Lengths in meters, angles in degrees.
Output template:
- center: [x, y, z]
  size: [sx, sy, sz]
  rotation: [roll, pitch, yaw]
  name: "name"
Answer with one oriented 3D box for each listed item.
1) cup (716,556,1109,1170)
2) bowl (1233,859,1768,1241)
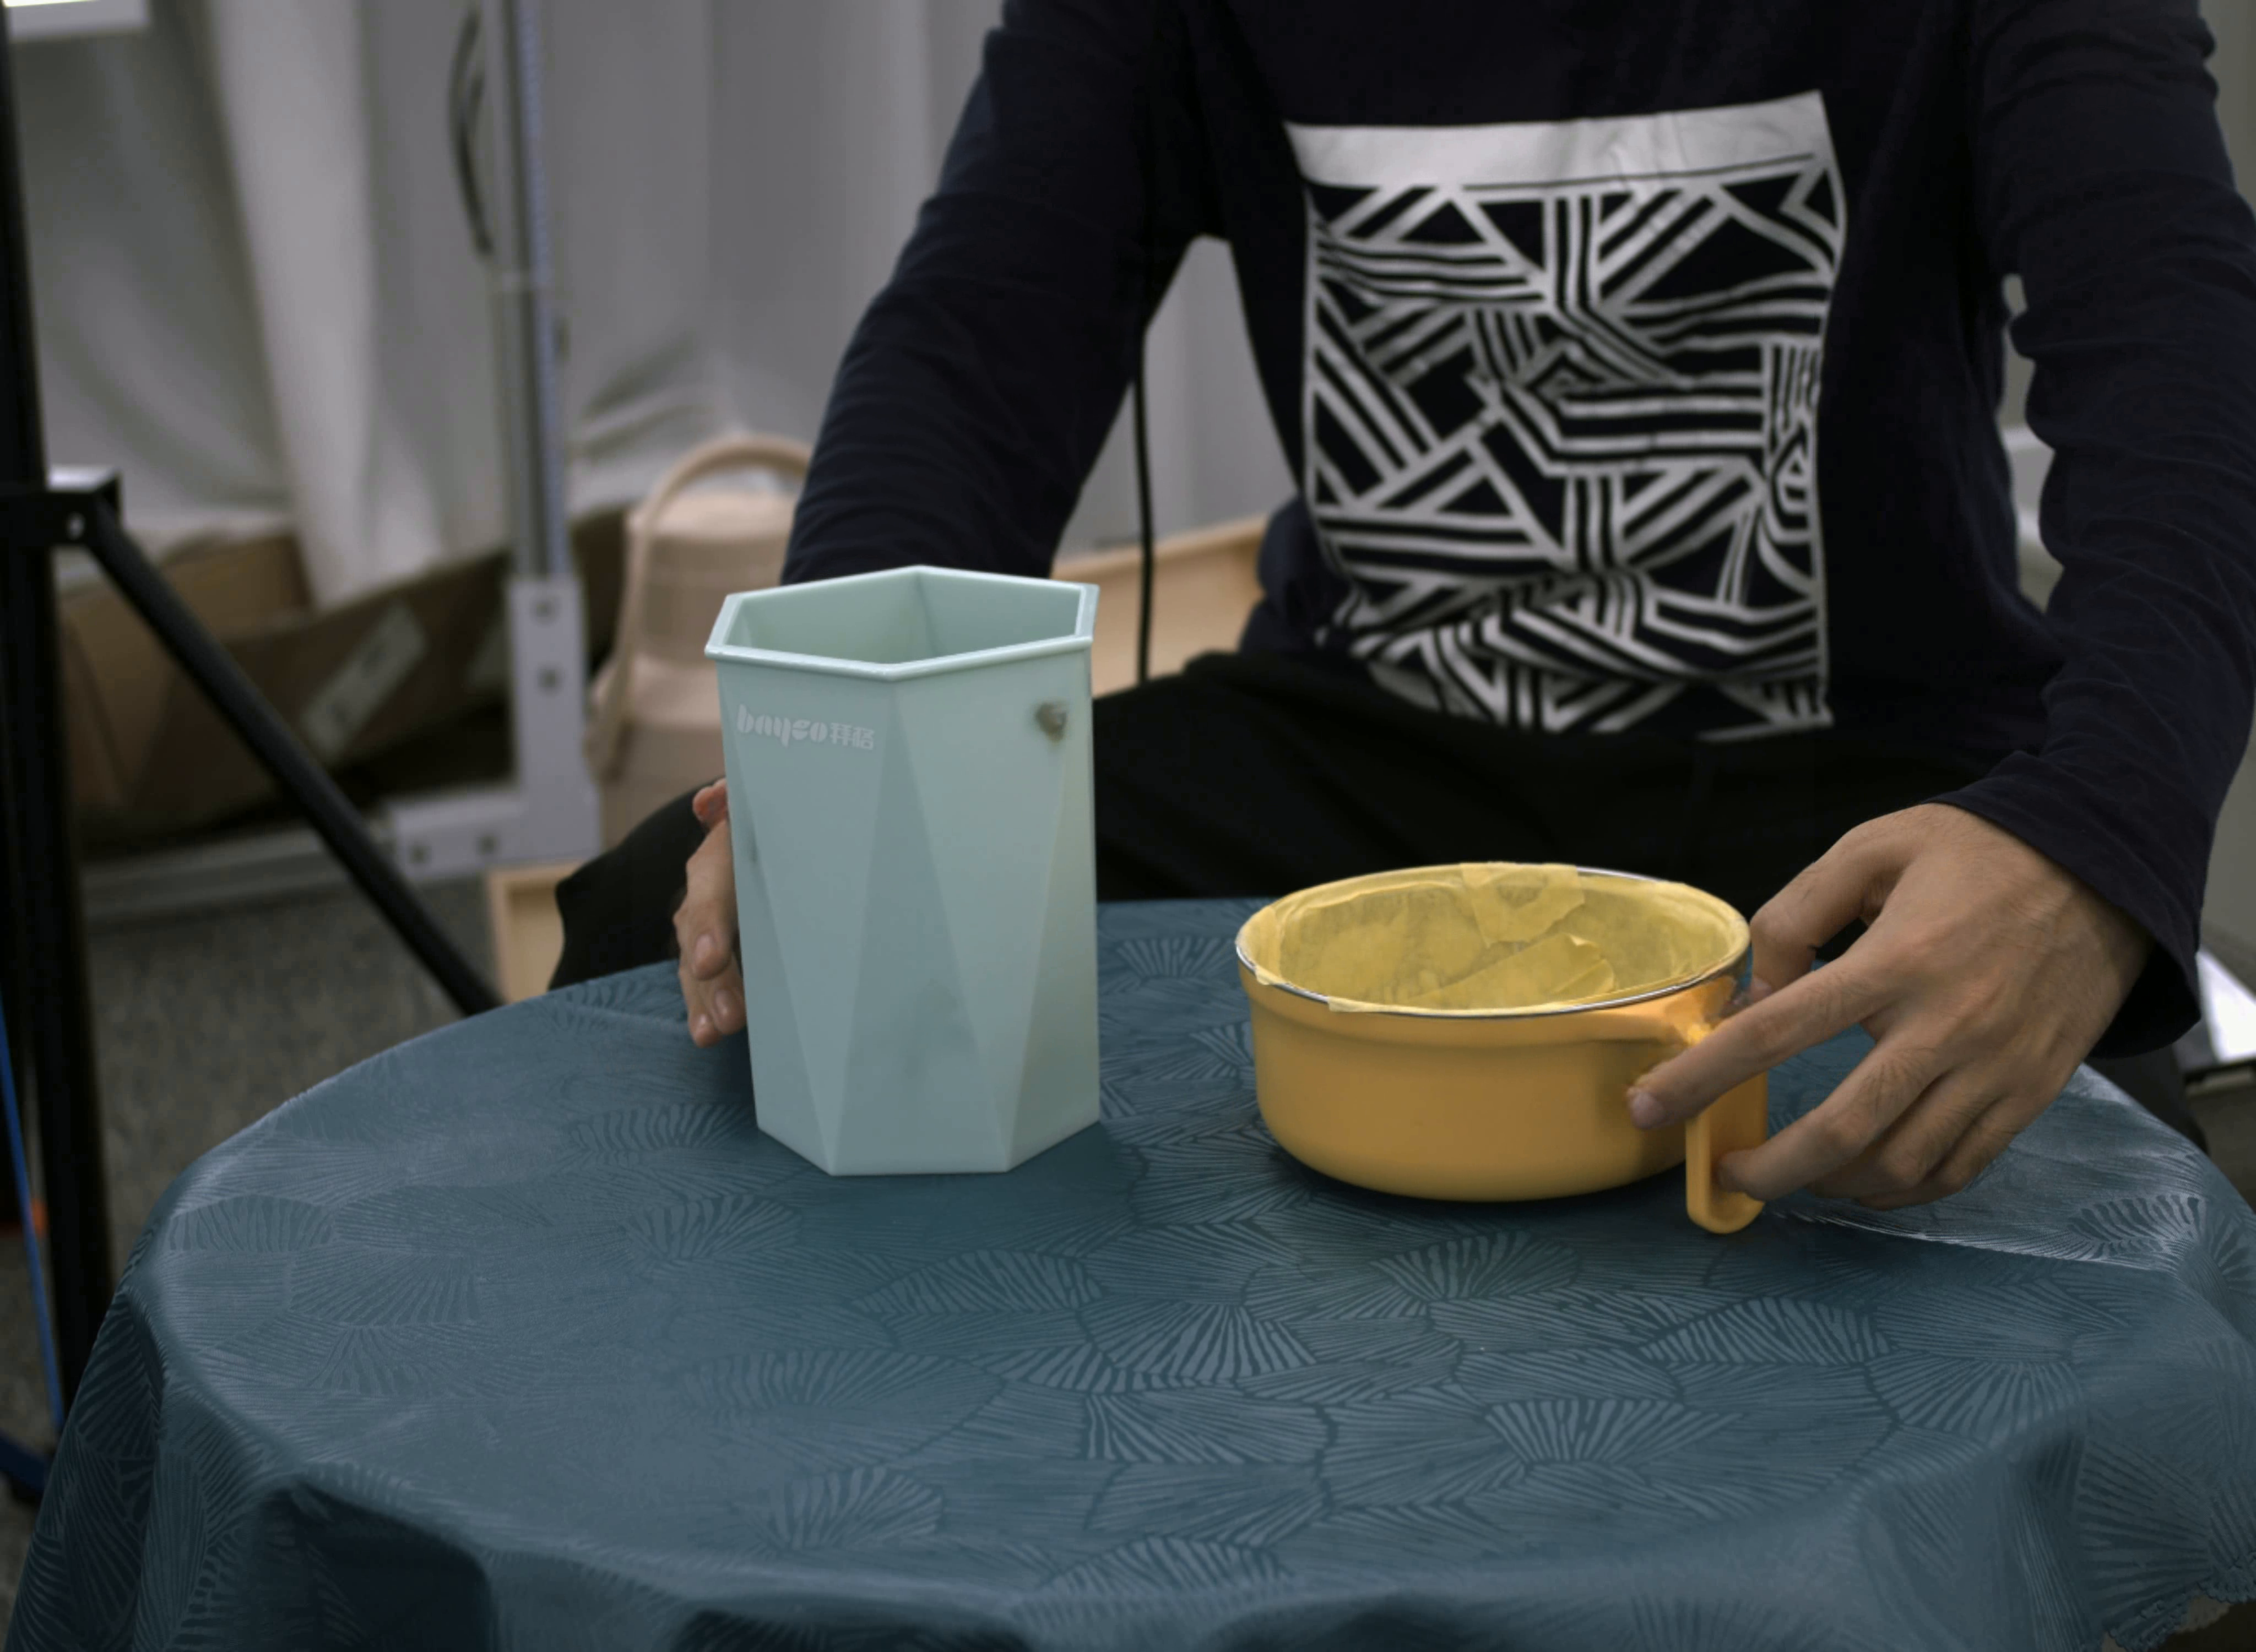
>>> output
- center: [-0.063, 0.013, 1.605]
  size: [0.133, 0.163, 0.113]
  rotation: [8, 17, 30]
  name: "cup"
- center: [0.116, 0.067, 1.565]
  size: [0.149, 0.074, 0.183]
  rotation: [-13, 18, -39]
  name: "bowl"
